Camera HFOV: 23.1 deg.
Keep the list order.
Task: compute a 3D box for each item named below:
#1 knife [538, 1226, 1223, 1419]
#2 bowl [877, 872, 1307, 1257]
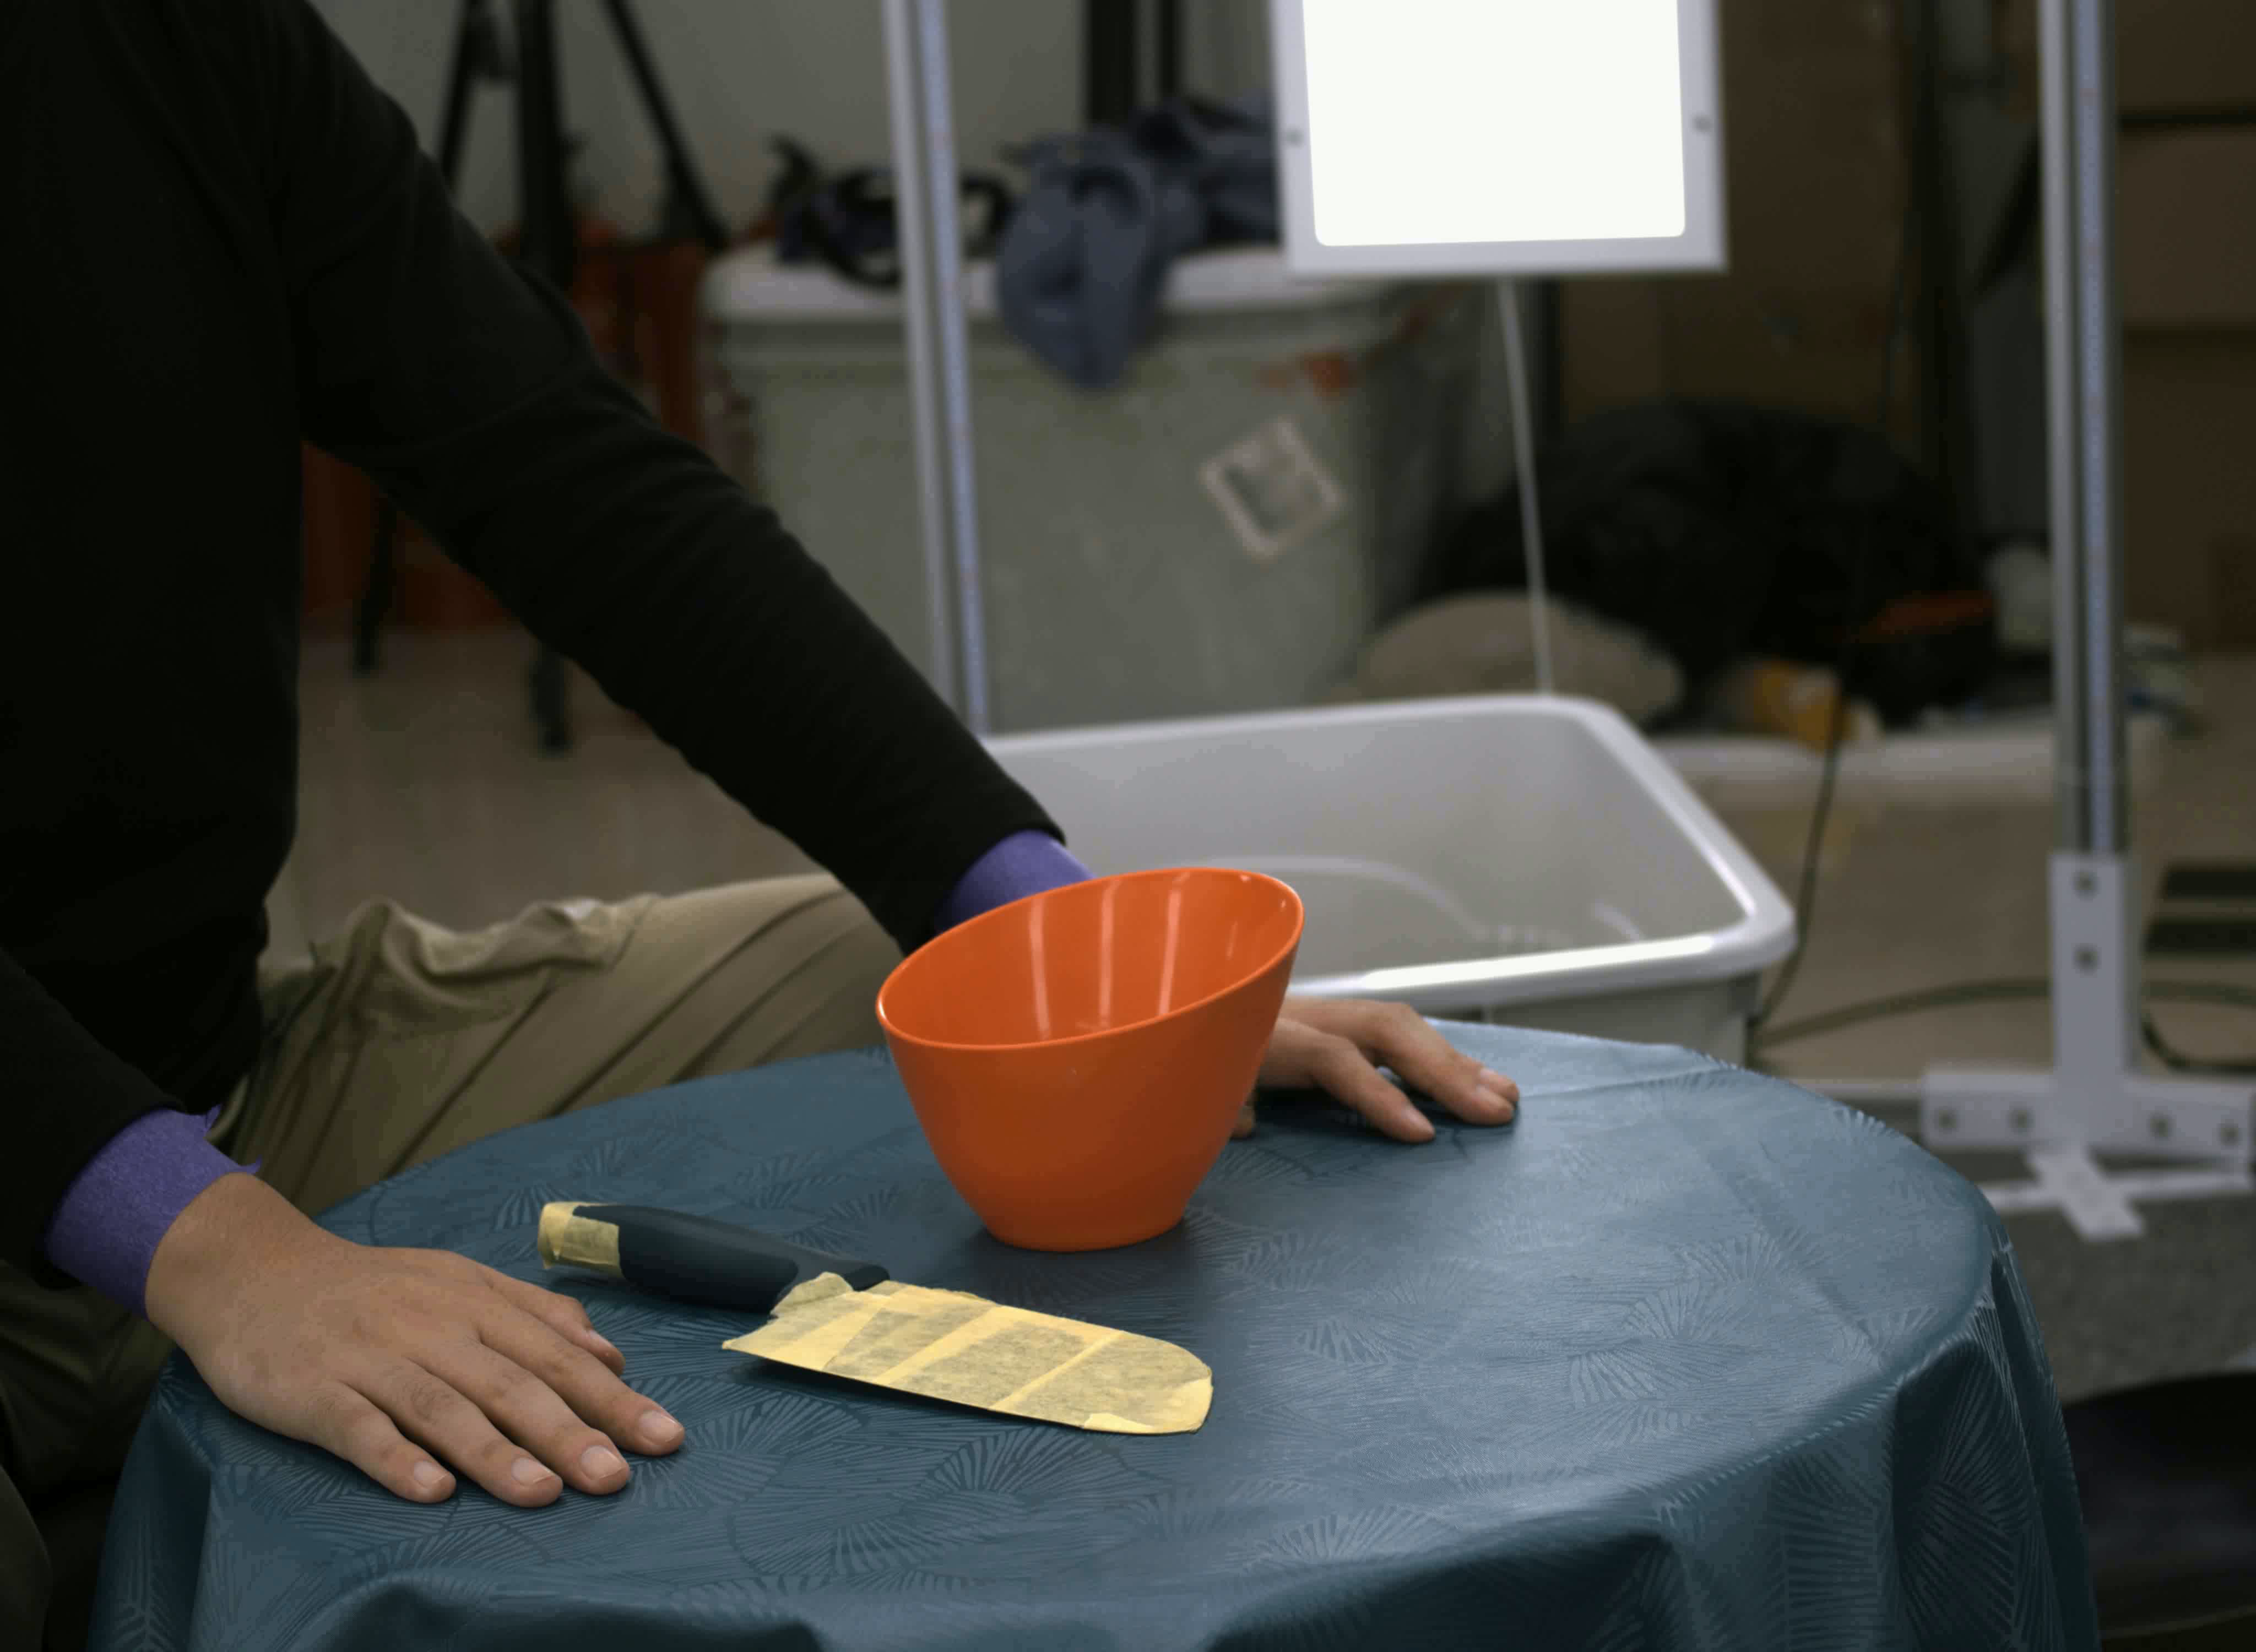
[{"bbox_3d":[-0.088,0.161,1.764,0.295,0.027,0.079,7,17,39],"label":"knife"},{"bbox_3d":[-0.008,0.084,1.864,0.147,0.105,0.148,-5,15,0],"label":"bowl"}]
